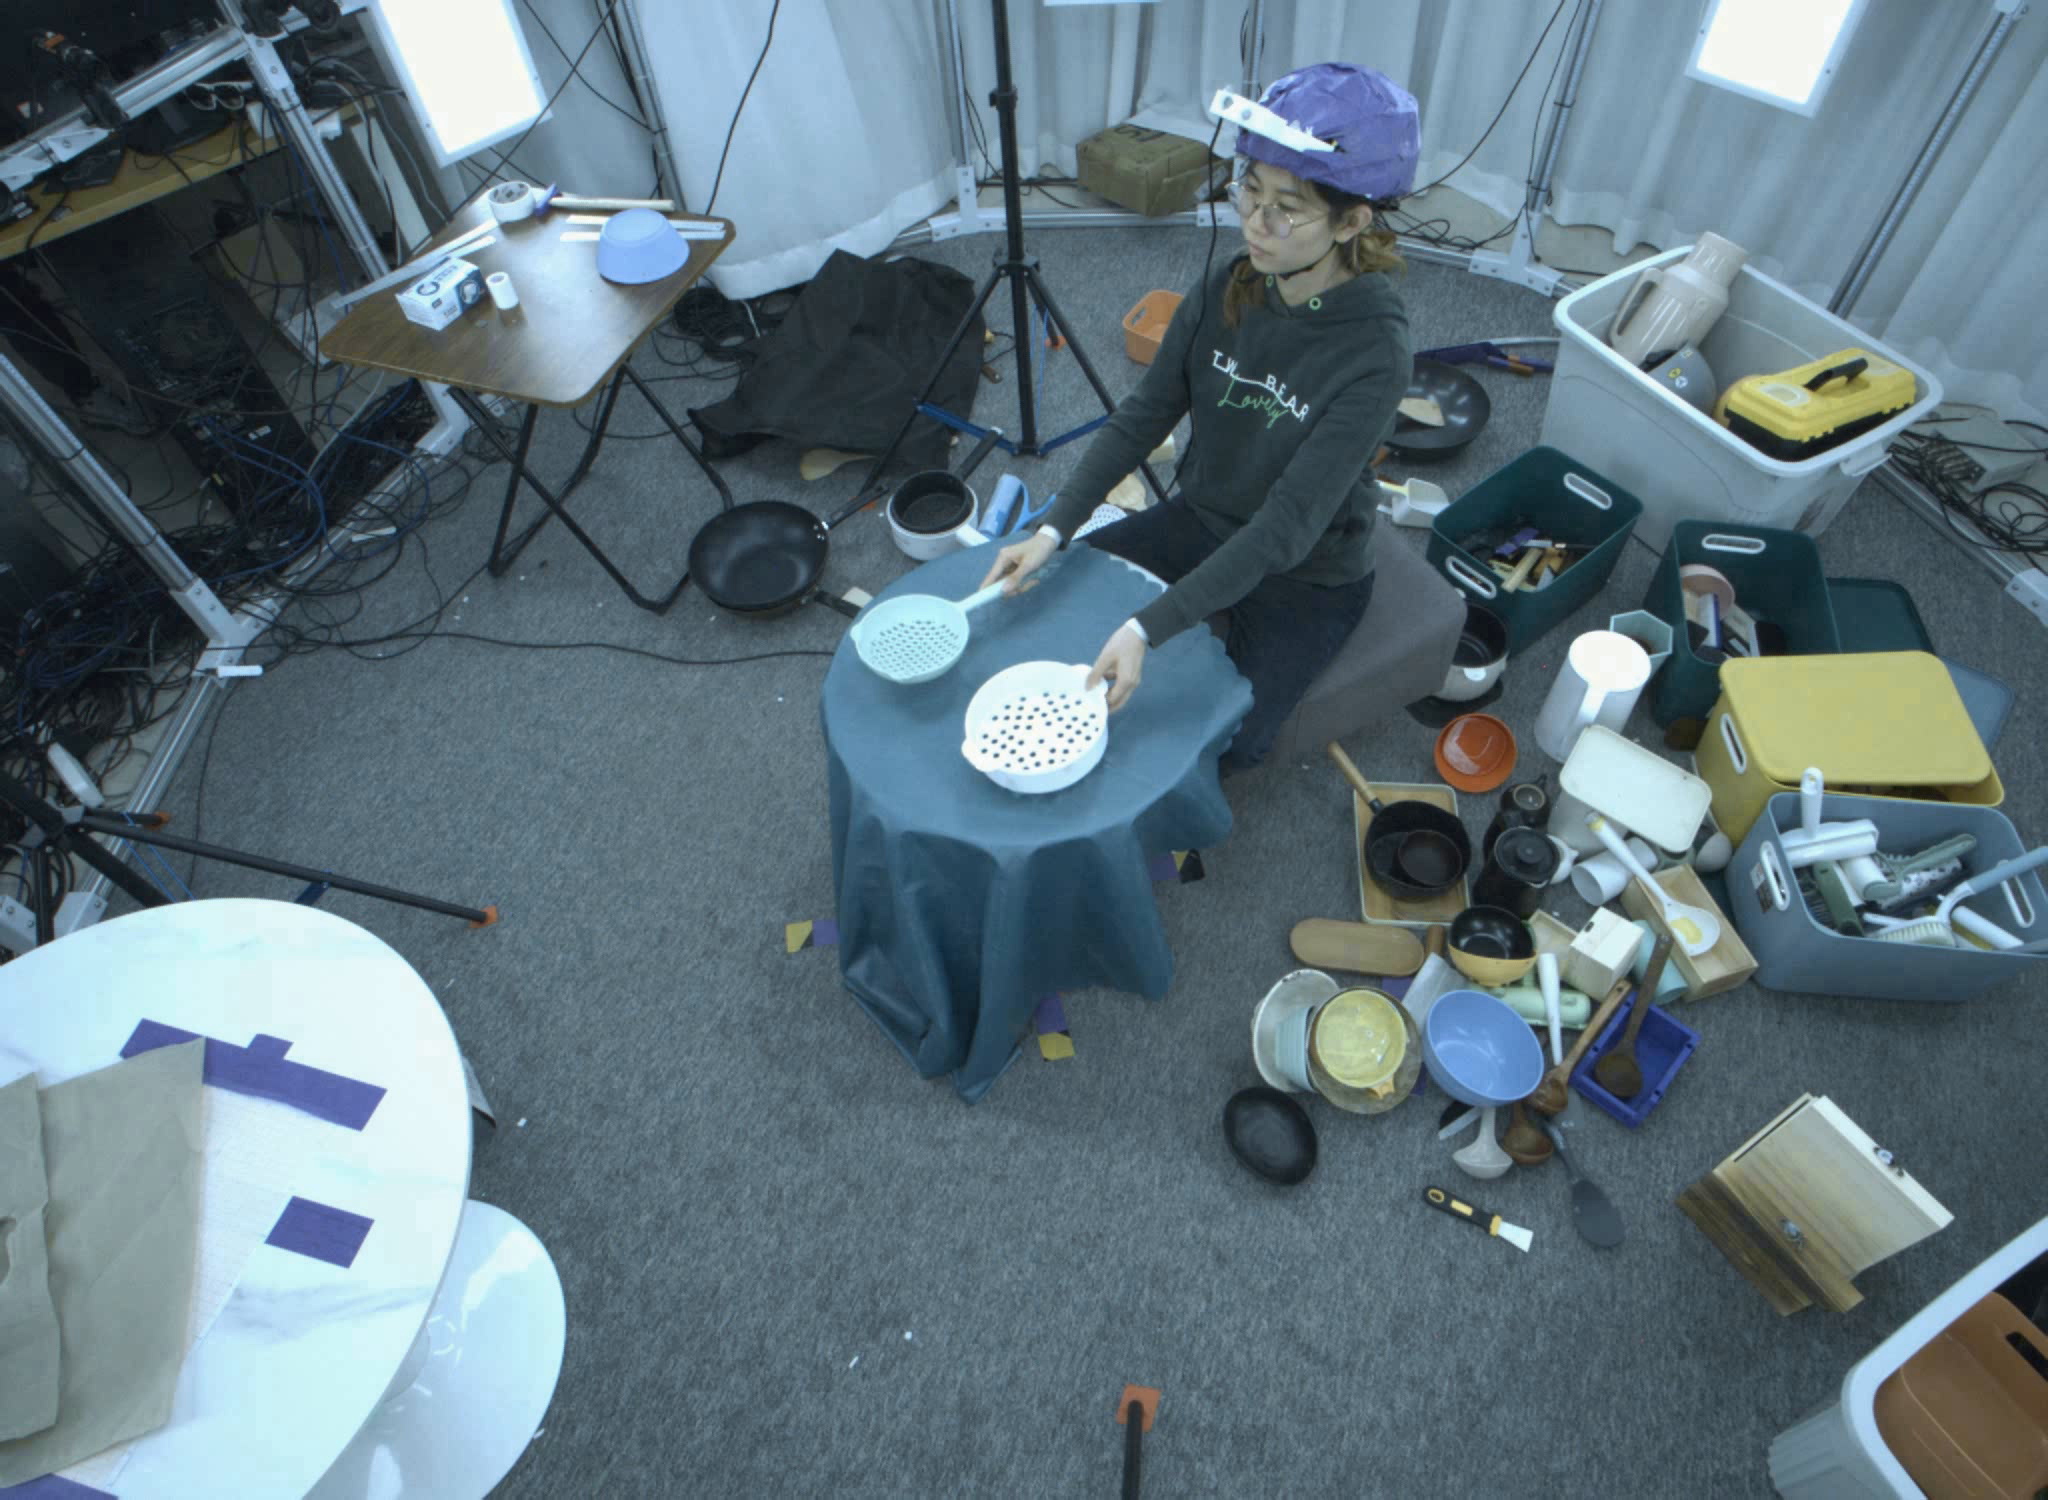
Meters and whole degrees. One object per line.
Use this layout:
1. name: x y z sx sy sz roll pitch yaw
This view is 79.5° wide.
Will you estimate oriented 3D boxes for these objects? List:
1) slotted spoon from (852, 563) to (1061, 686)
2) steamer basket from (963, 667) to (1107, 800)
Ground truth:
1. slotted spoon: -0.088 -0.210 1.876 0.361 0.076 0.166 -37 60 -16
2. steamer basket: 0.020 -0.022 1.762 0.232 0.070 0.198 -36 59 -17
